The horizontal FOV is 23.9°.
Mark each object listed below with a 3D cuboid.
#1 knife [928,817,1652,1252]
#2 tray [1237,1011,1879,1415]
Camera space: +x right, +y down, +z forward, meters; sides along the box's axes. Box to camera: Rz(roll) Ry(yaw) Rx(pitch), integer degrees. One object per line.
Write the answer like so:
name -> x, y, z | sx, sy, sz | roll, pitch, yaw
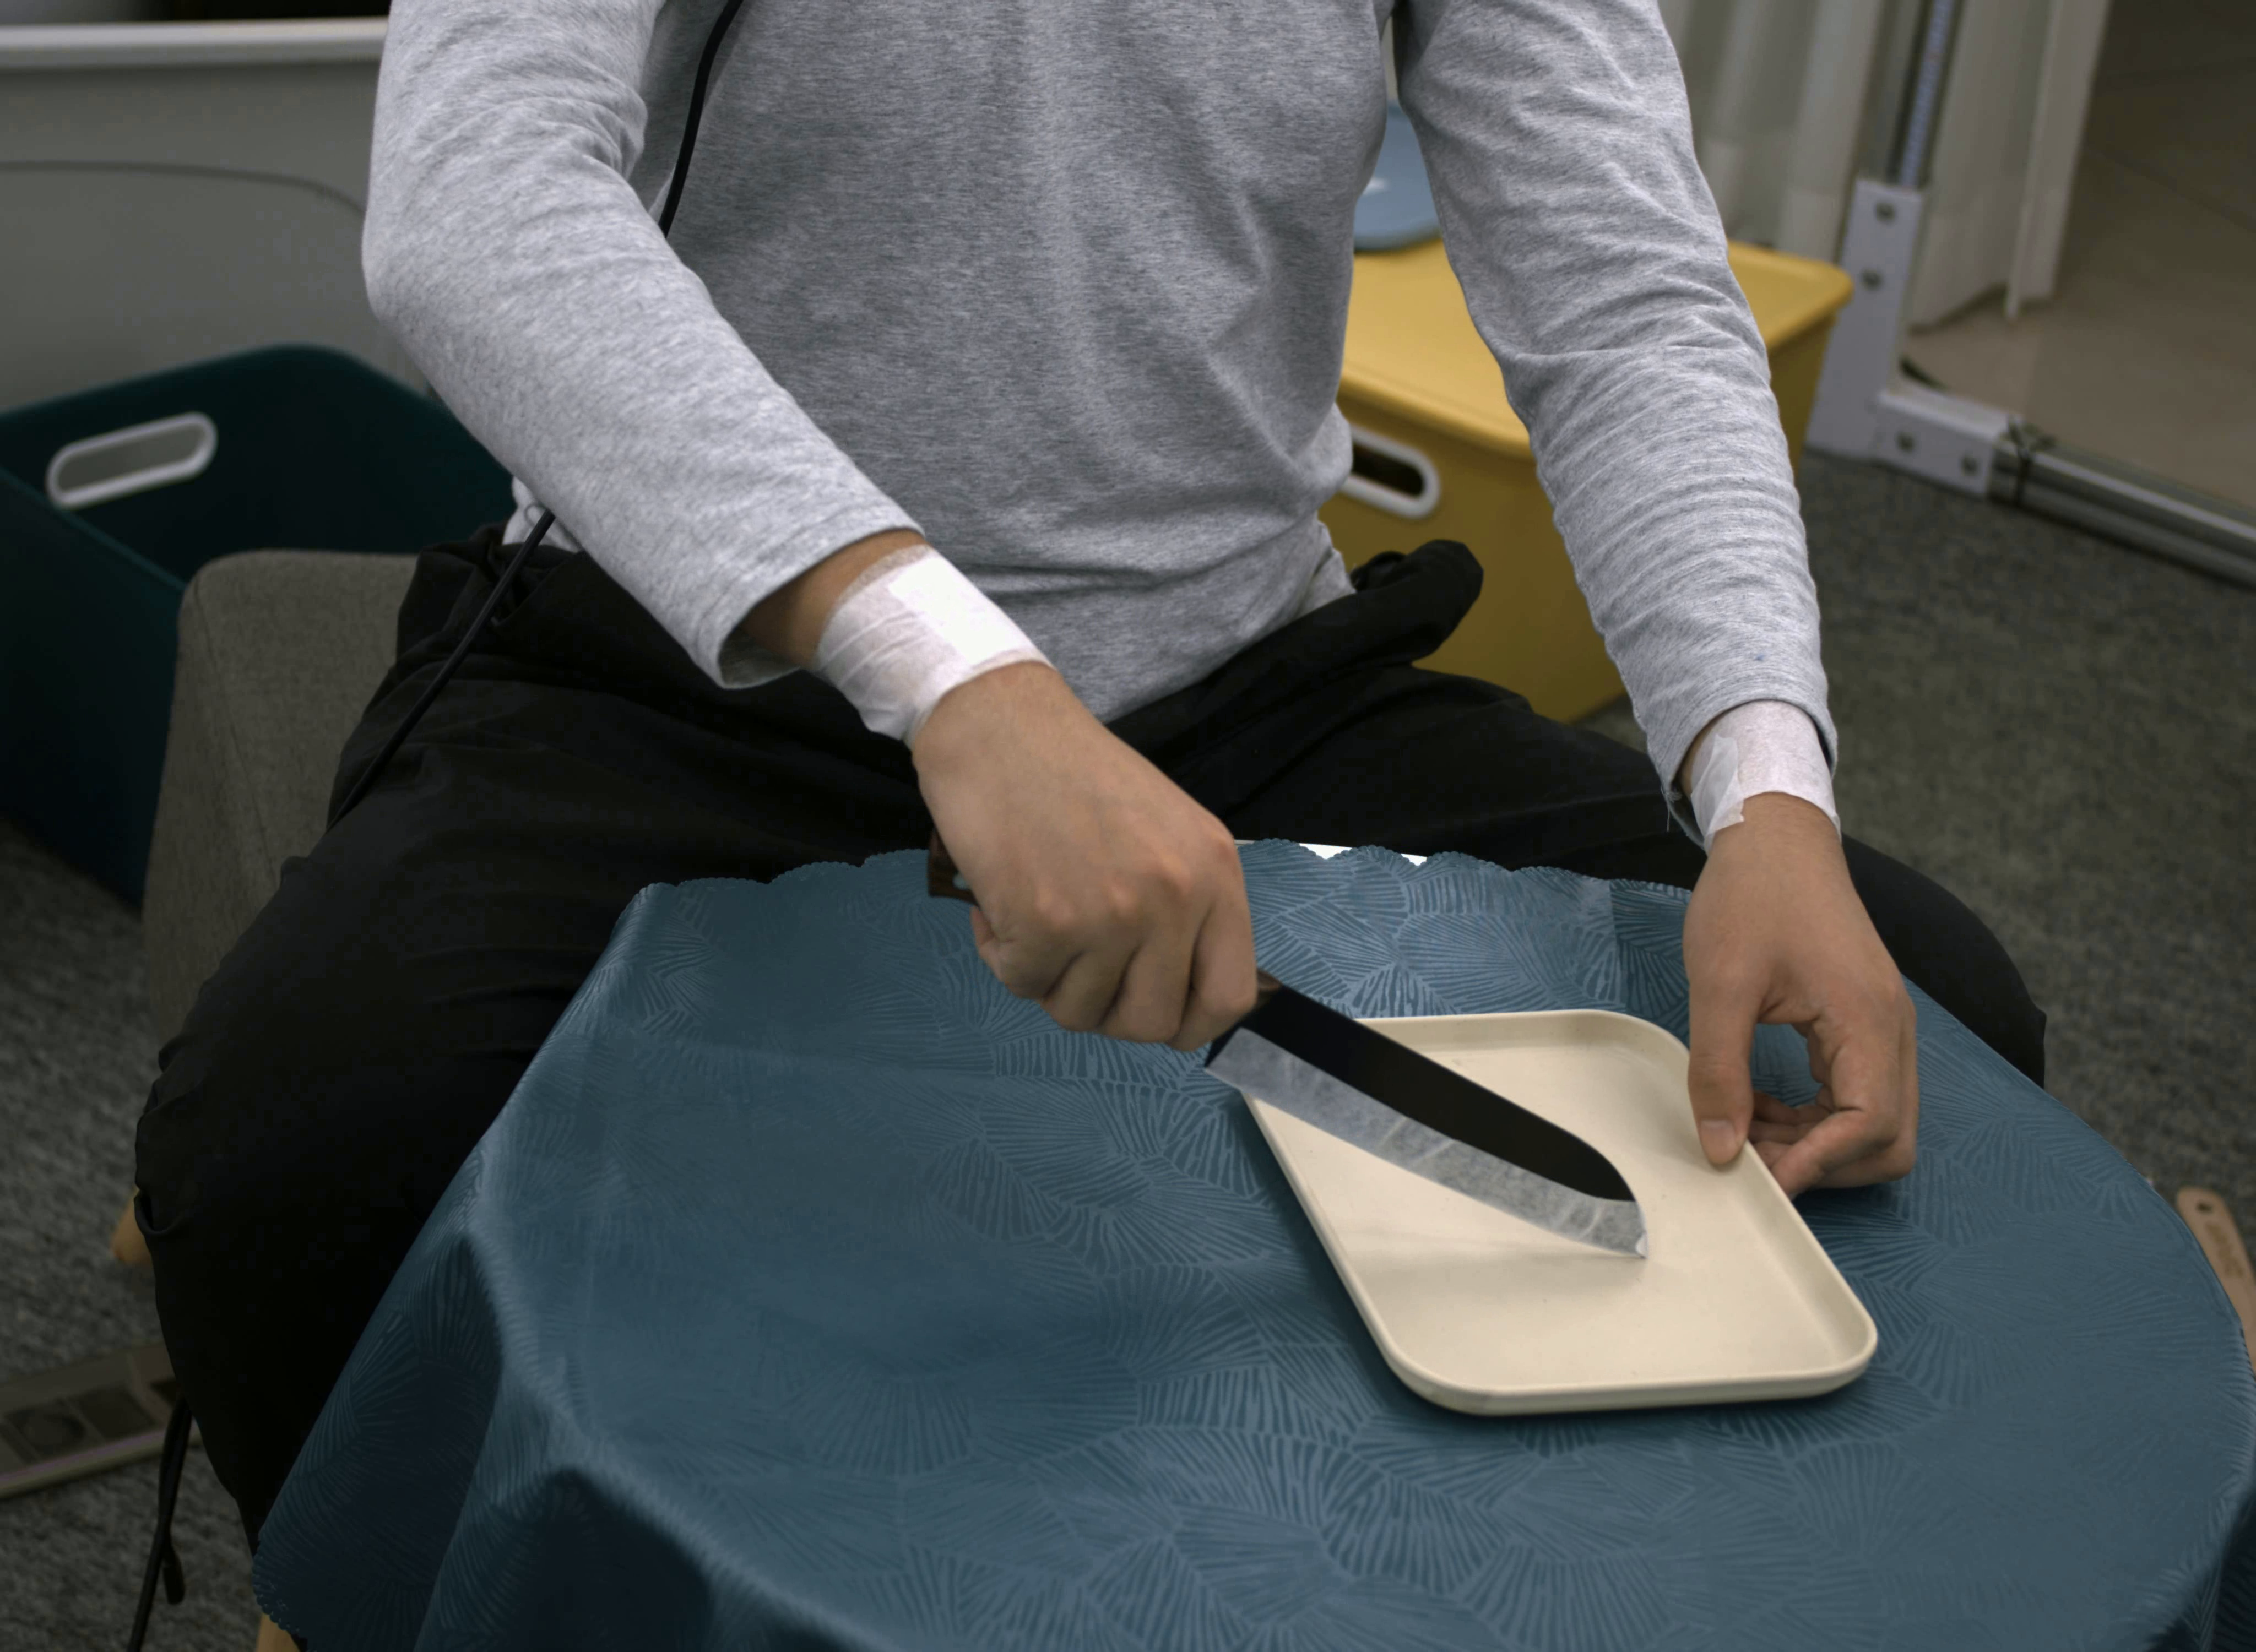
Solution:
knife -> 0.055, 0.072, 1.757 | 0.287, 0.050, 0.020 | 30, 32, -14
tray -> 0.141, 0.130, 1.806 | 0.170, 0.017, 0.242 | -1, 28, -15
